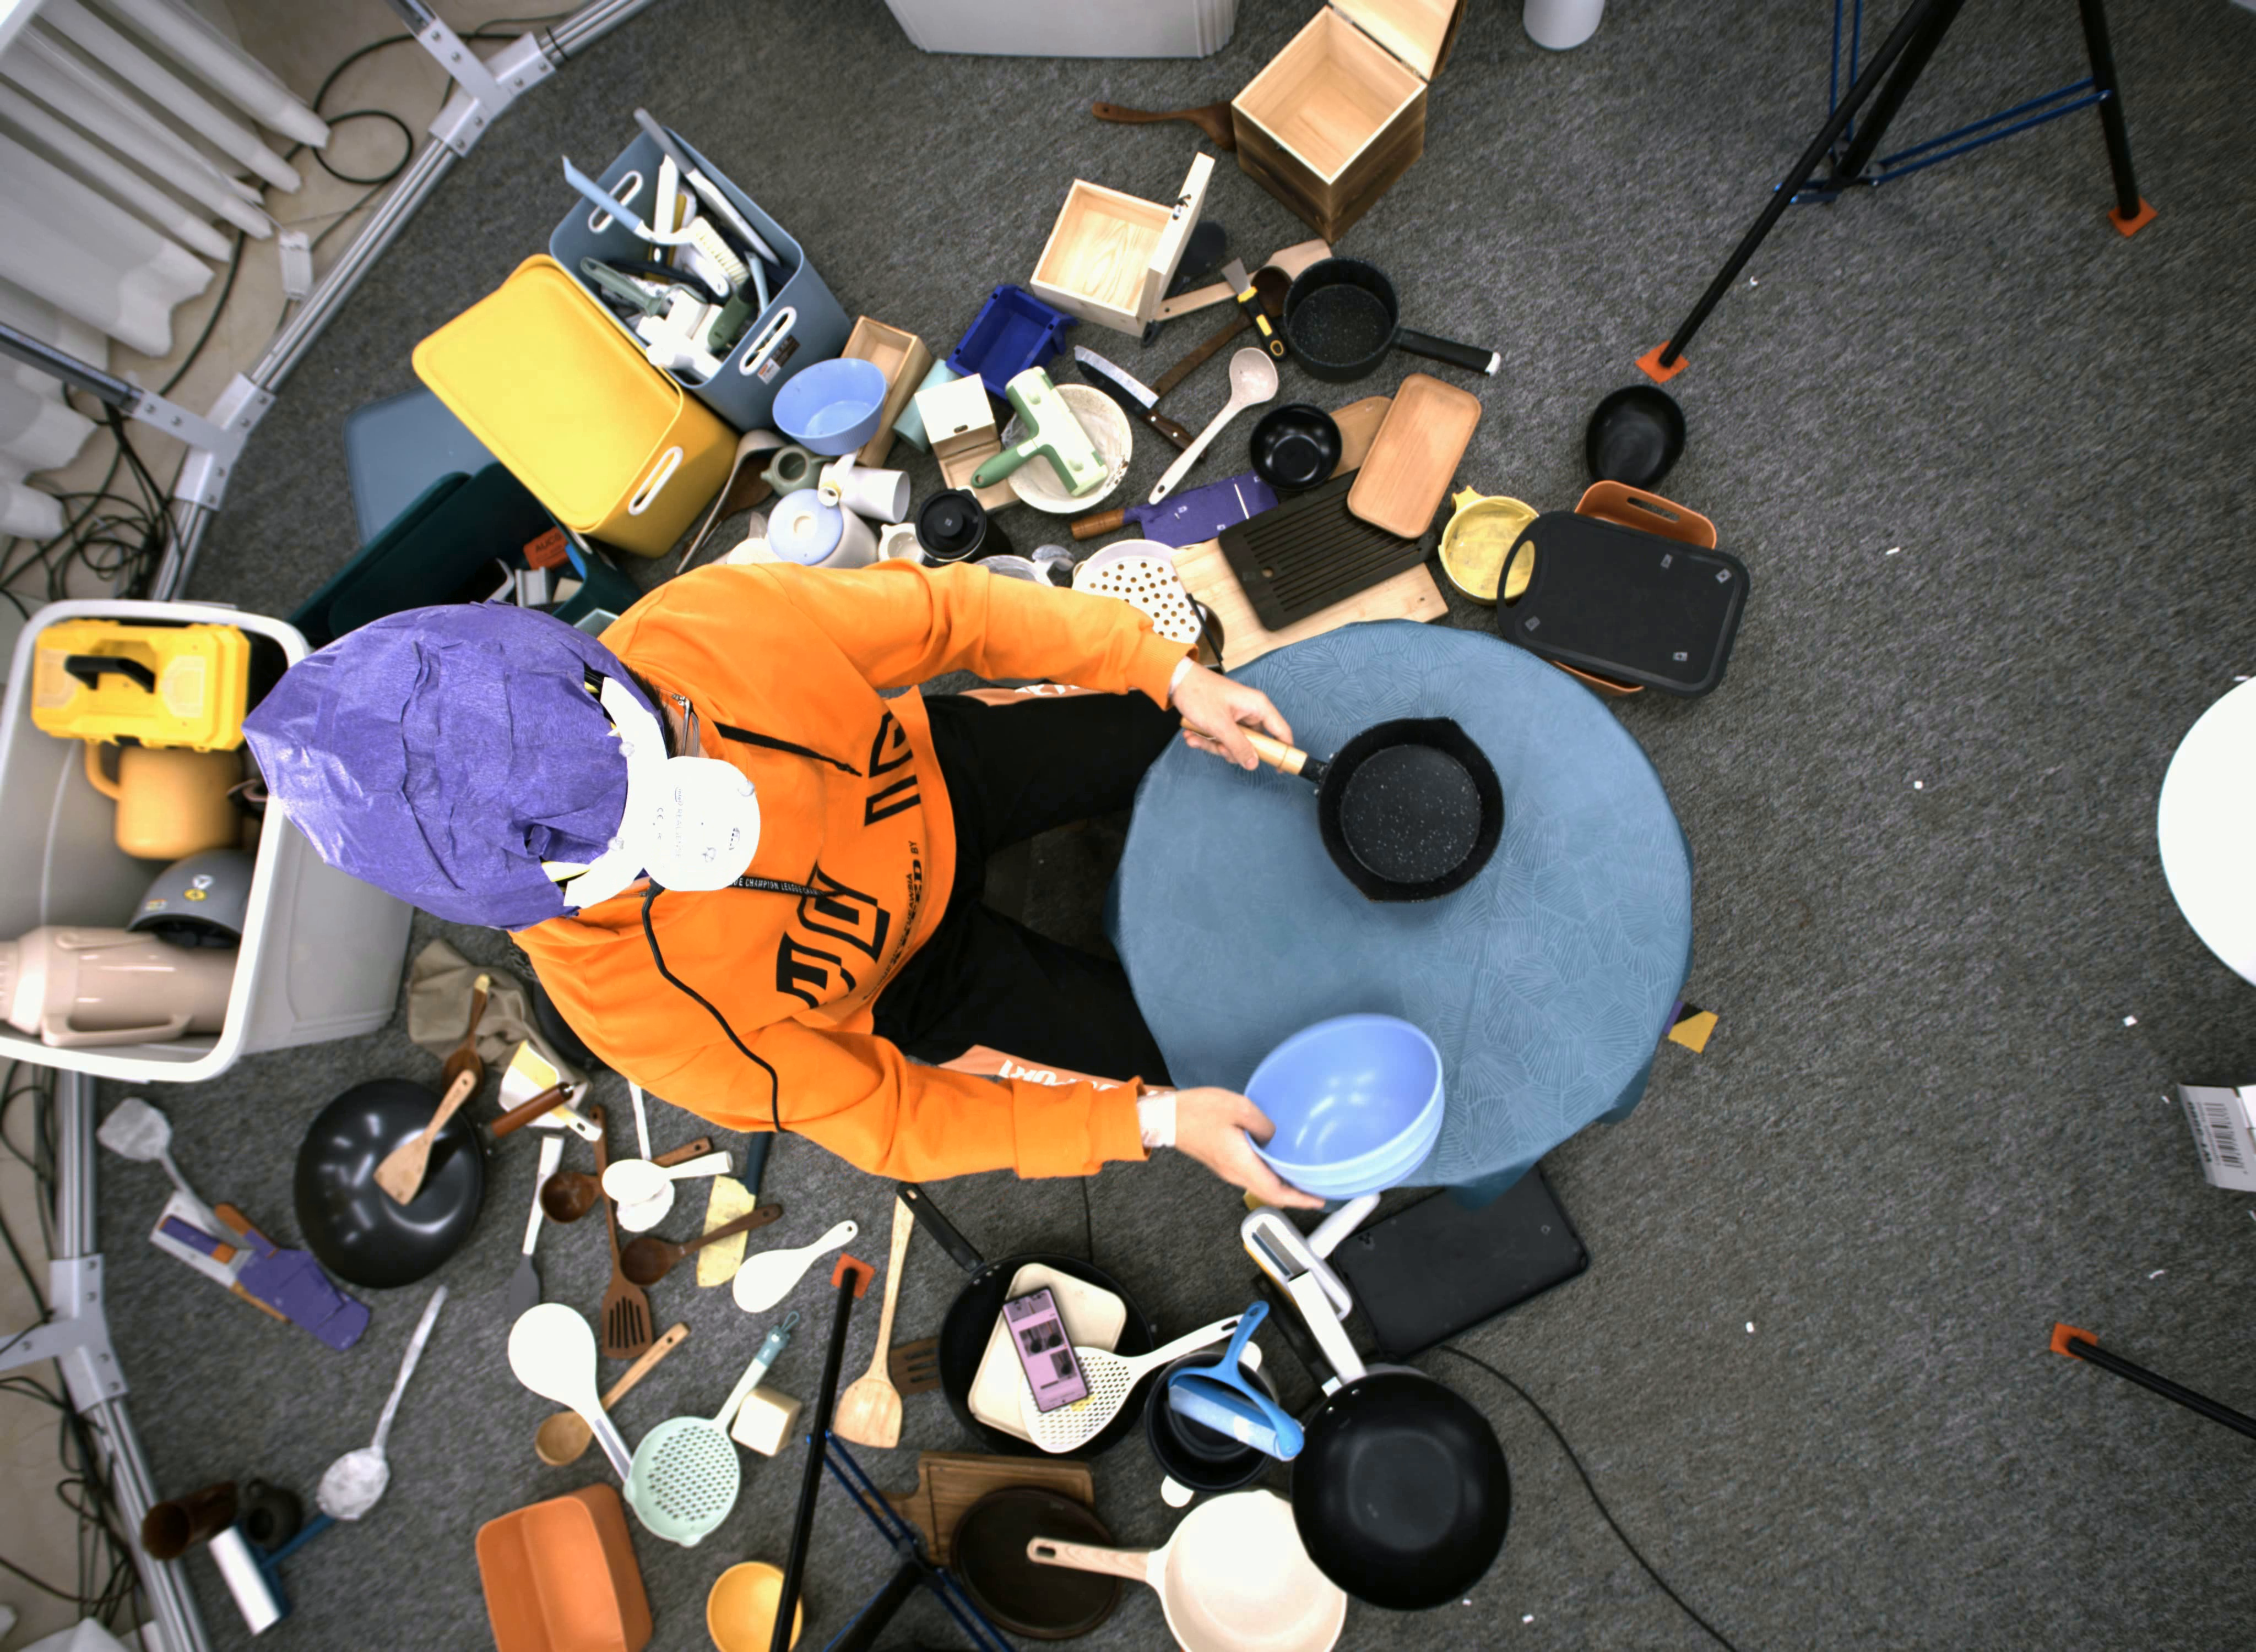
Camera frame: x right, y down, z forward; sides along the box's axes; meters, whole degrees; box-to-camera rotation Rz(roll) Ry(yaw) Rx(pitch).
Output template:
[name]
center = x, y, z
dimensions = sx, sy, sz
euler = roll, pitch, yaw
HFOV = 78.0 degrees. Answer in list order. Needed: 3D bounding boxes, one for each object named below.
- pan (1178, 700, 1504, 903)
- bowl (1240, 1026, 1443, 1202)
[pan]
center = 0.213, -0.048, 1.410
dimensions = 0.342, 0.107, 0.209
euler = 23, 97, 10
[bowl]
center = 0.214, 0.285, 1.311
dimensions = 0.197, 0.192, 0.097
euler = -22, 113, 7
